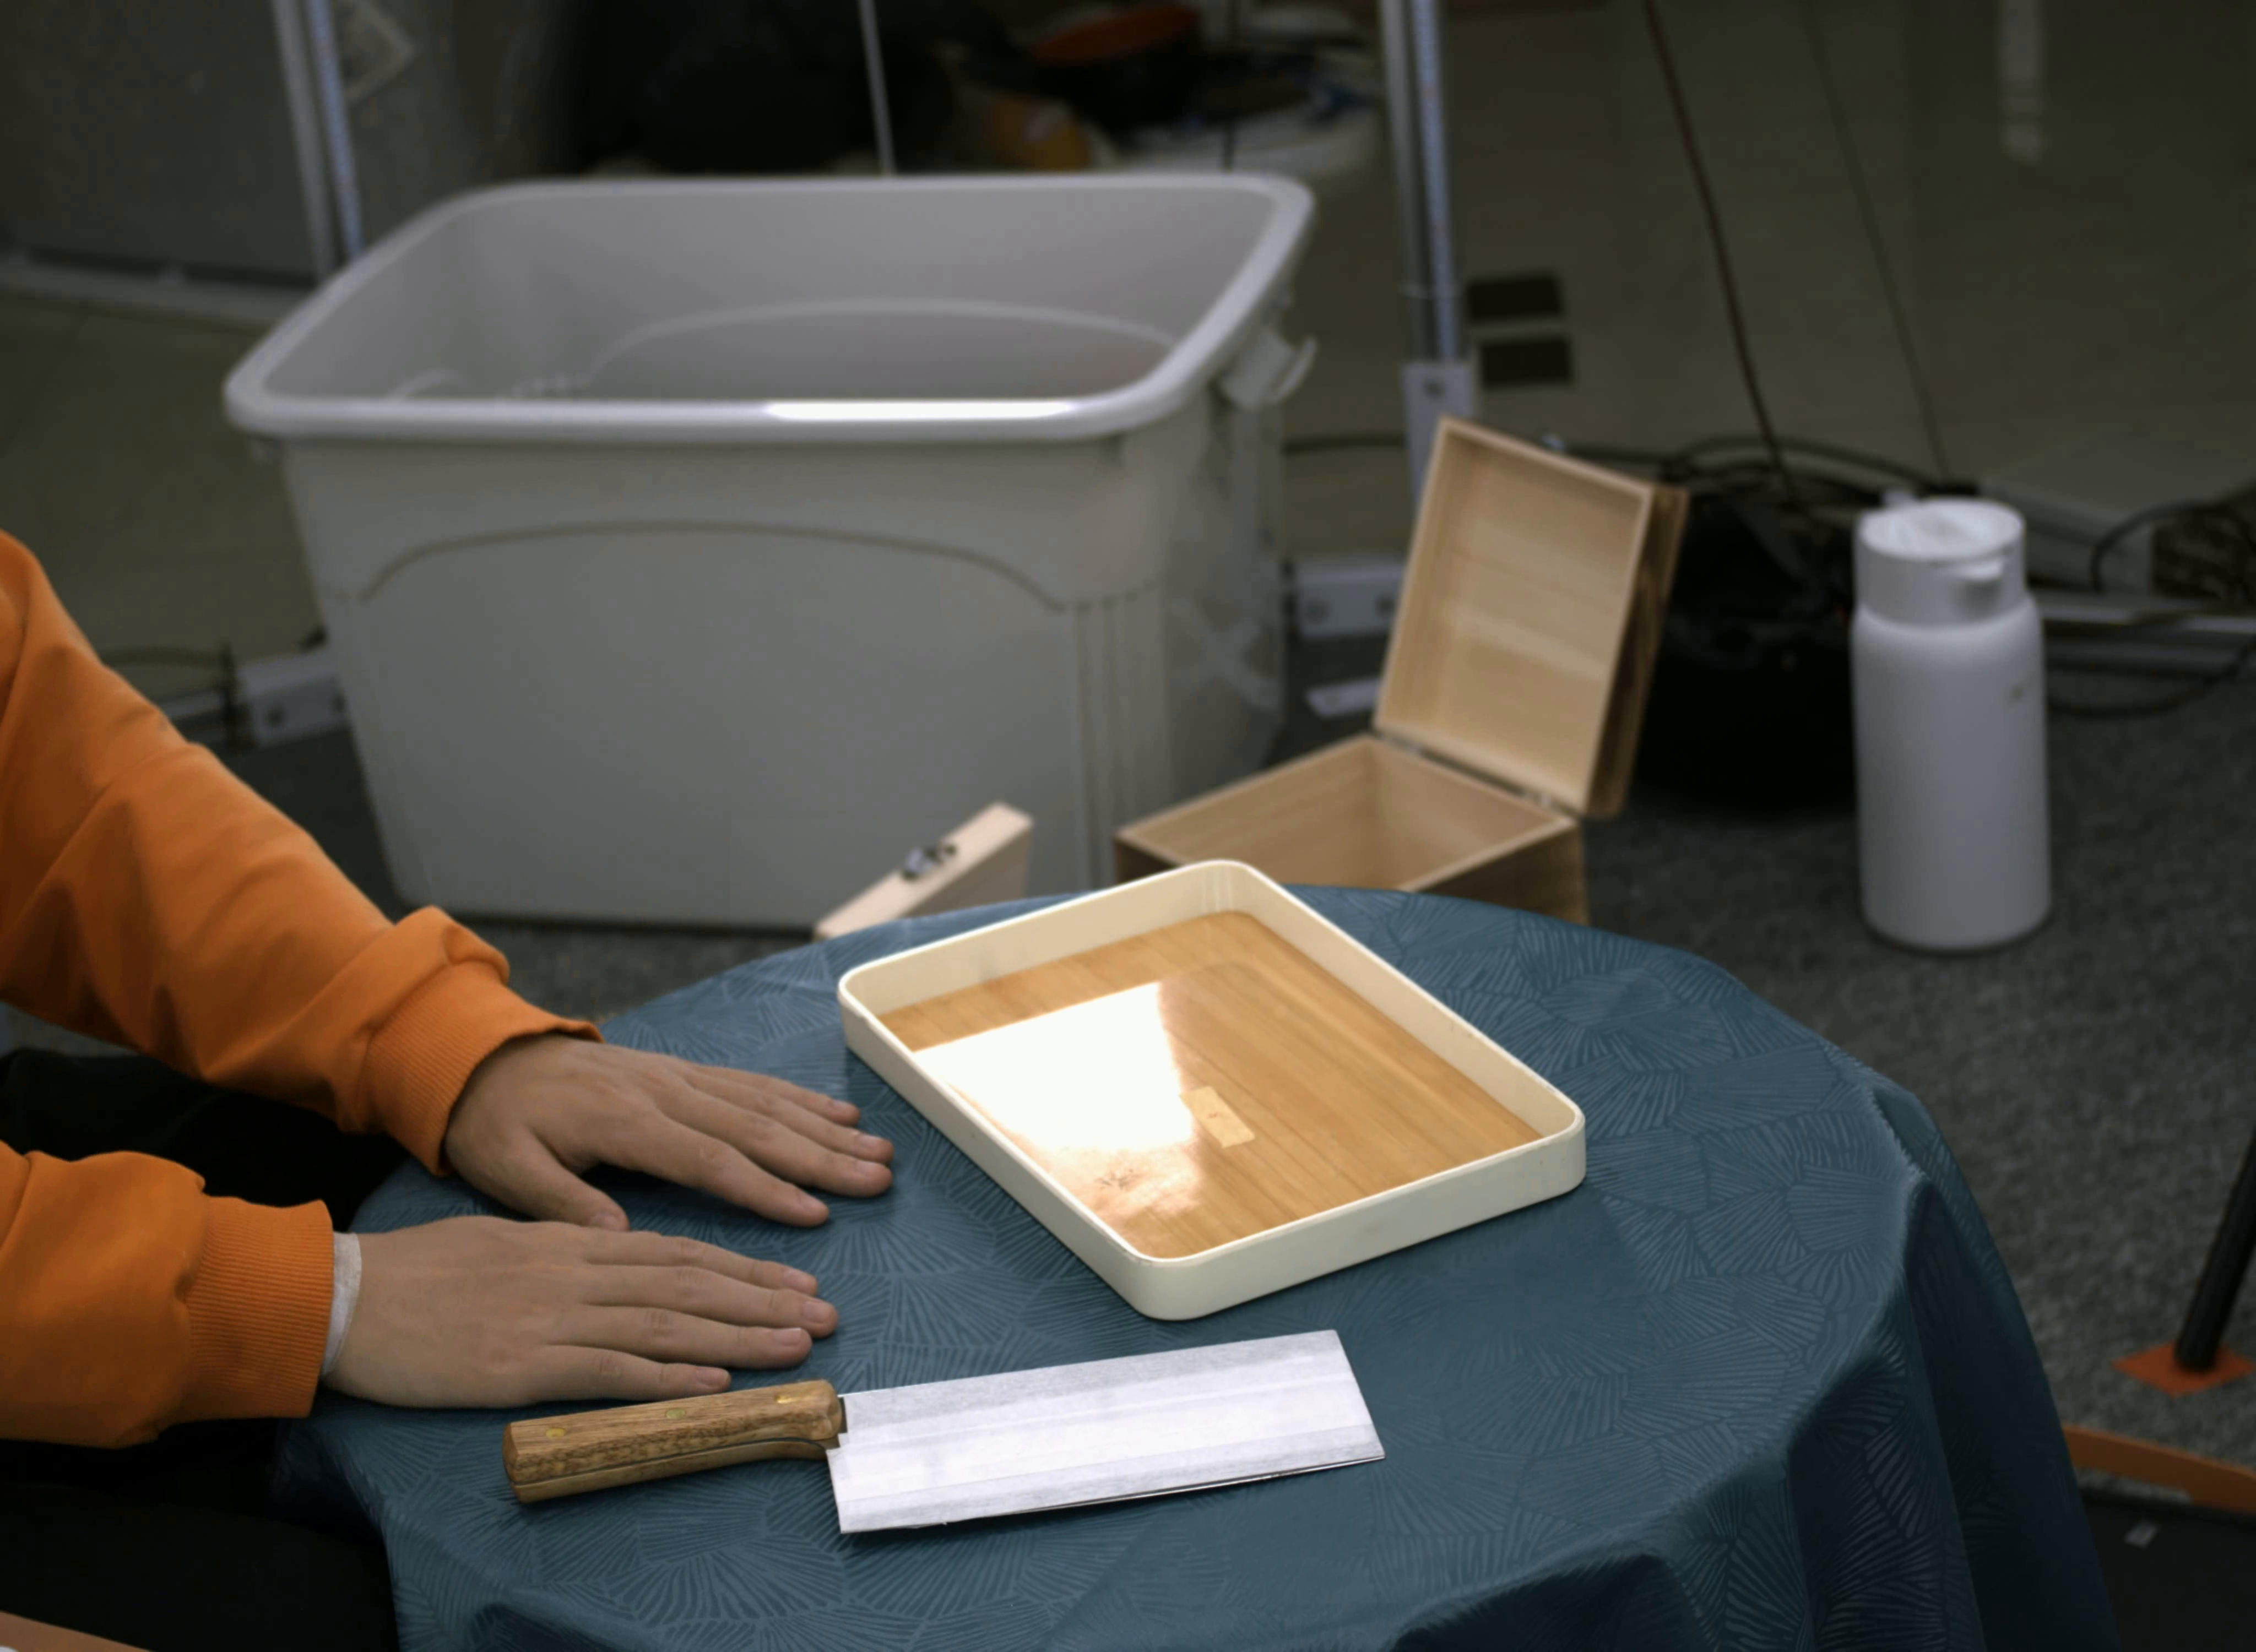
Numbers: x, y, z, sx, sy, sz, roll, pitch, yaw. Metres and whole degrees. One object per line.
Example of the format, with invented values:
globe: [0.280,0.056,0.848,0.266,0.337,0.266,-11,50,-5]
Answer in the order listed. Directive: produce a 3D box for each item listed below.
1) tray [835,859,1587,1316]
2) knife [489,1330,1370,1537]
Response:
tray: [0.027,0.097,2.197,0.191,0.028,0.297,-17,27,-21]
knife: [-0.069,0.217,1.979,0.305,0.021,0.091,-7,26,-7]
